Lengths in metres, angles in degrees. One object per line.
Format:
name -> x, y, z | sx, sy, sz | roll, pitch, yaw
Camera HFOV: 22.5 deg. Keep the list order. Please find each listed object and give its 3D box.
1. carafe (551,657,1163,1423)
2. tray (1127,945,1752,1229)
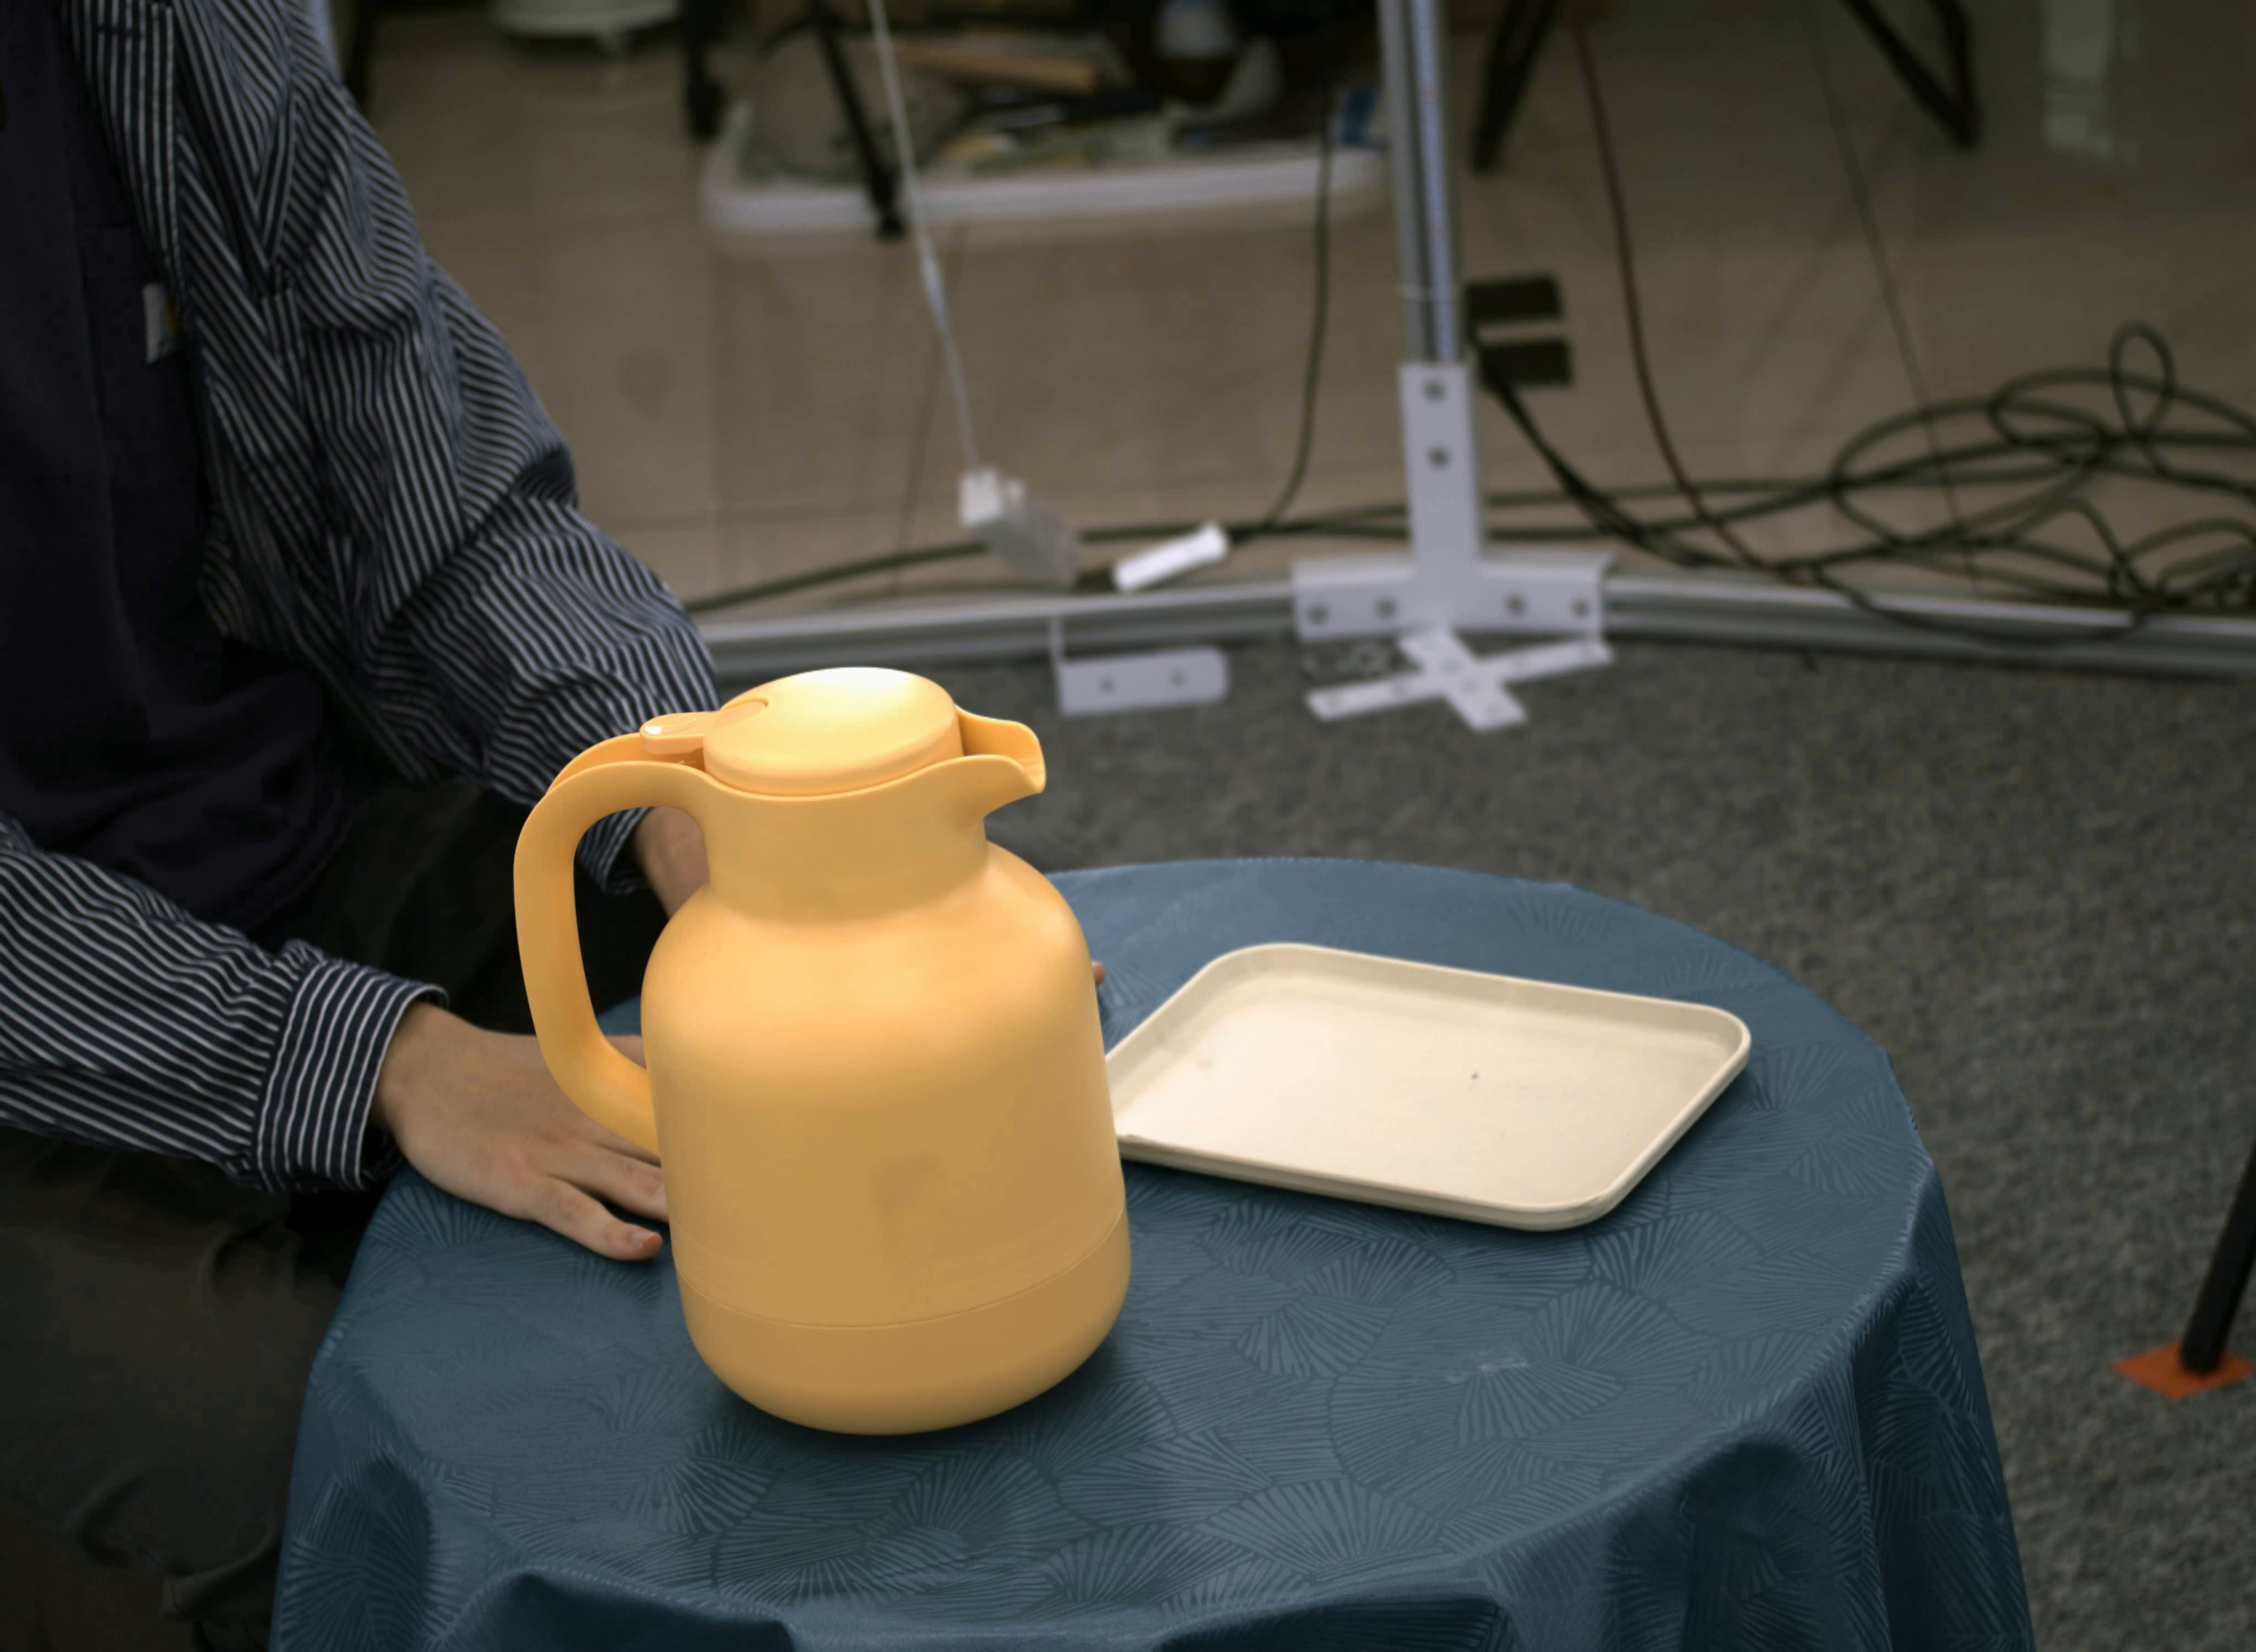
carafe -> -0.096, 0.071, 2.010 | 0.202, 0.264, 0.161 | -1, 25, 10
tray -> 0.107, 0.100, 2.186 | 0.238, 0.018, 0.169 | 8, 28, 29
